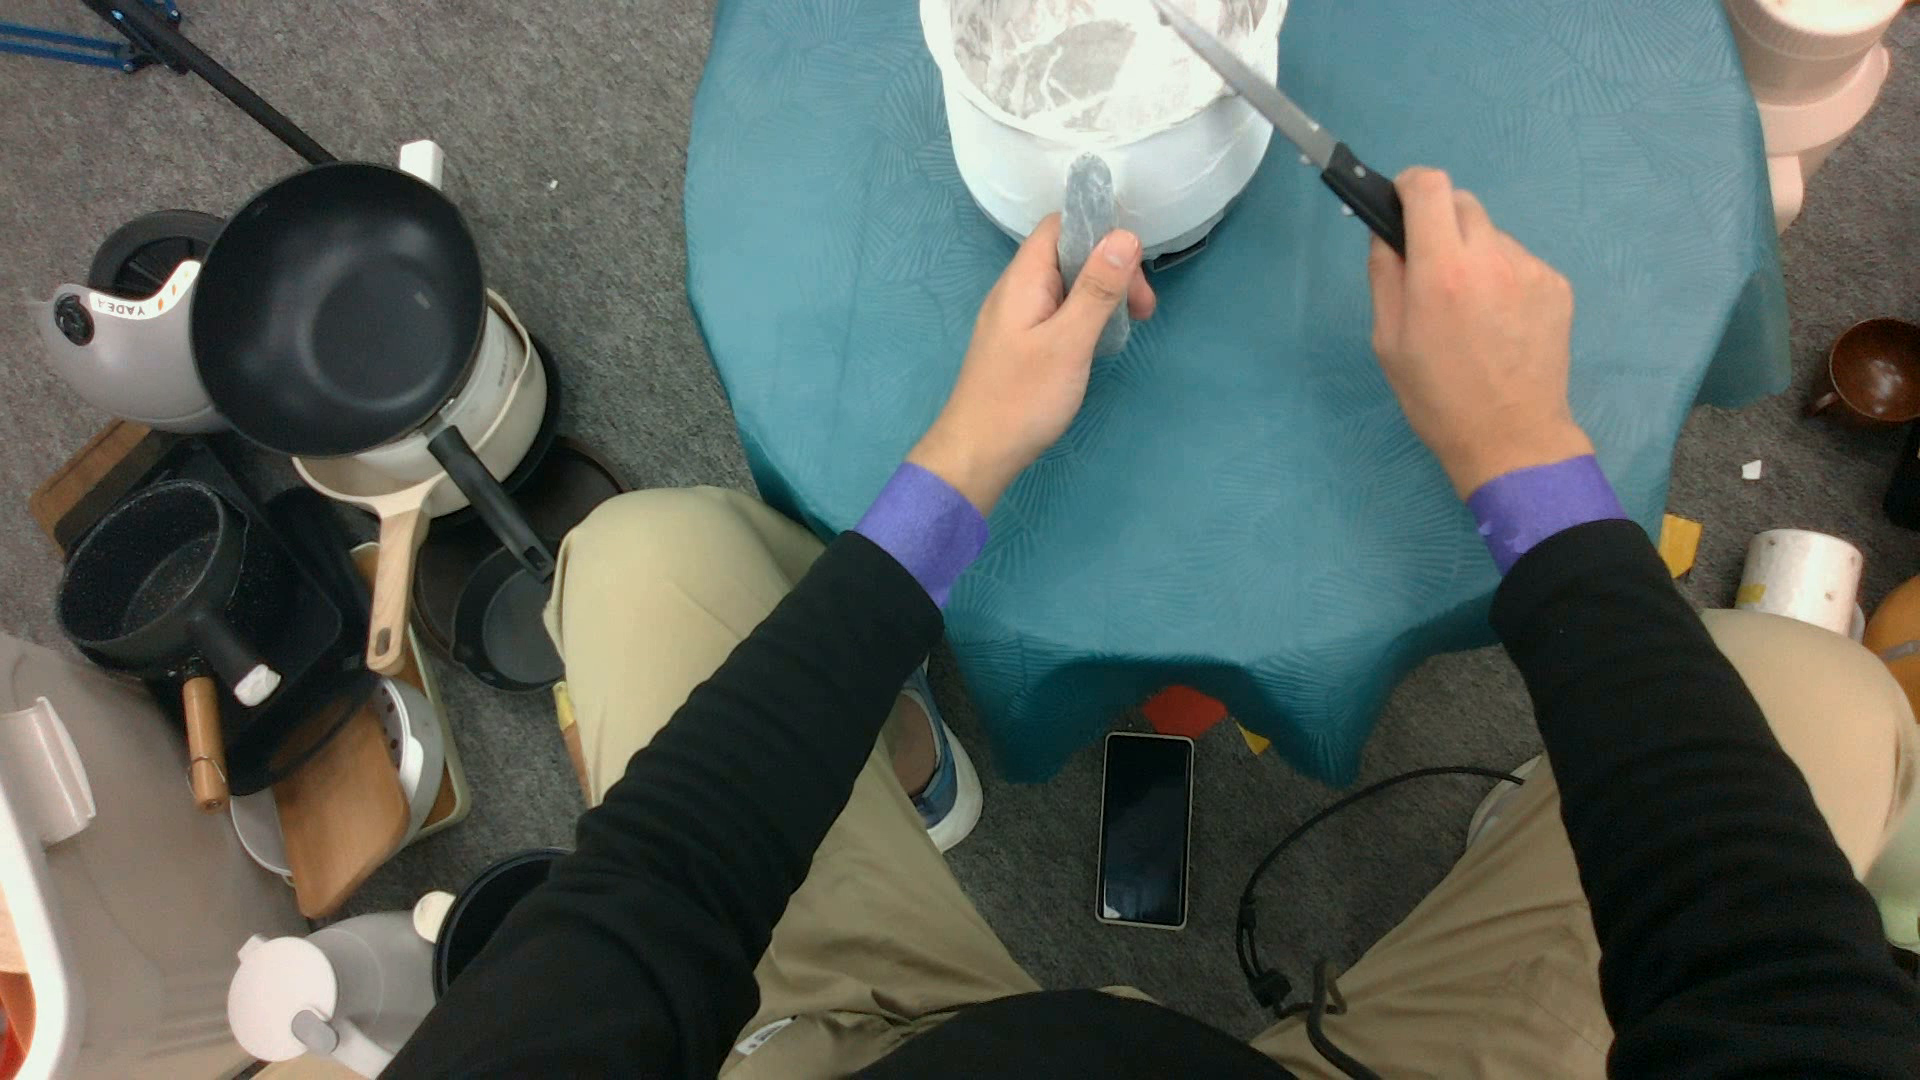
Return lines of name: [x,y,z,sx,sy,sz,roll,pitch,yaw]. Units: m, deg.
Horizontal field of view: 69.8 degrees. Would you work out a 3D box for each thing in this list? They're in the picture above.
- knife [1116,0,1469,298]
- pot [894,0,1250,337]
knife: [0.149,-0.186,0.637,0.238,0.016,0.024,35,57,-16]
pot: [0.062,-0.230,0.713,0.178,0.136,0.234,1,70,9]
